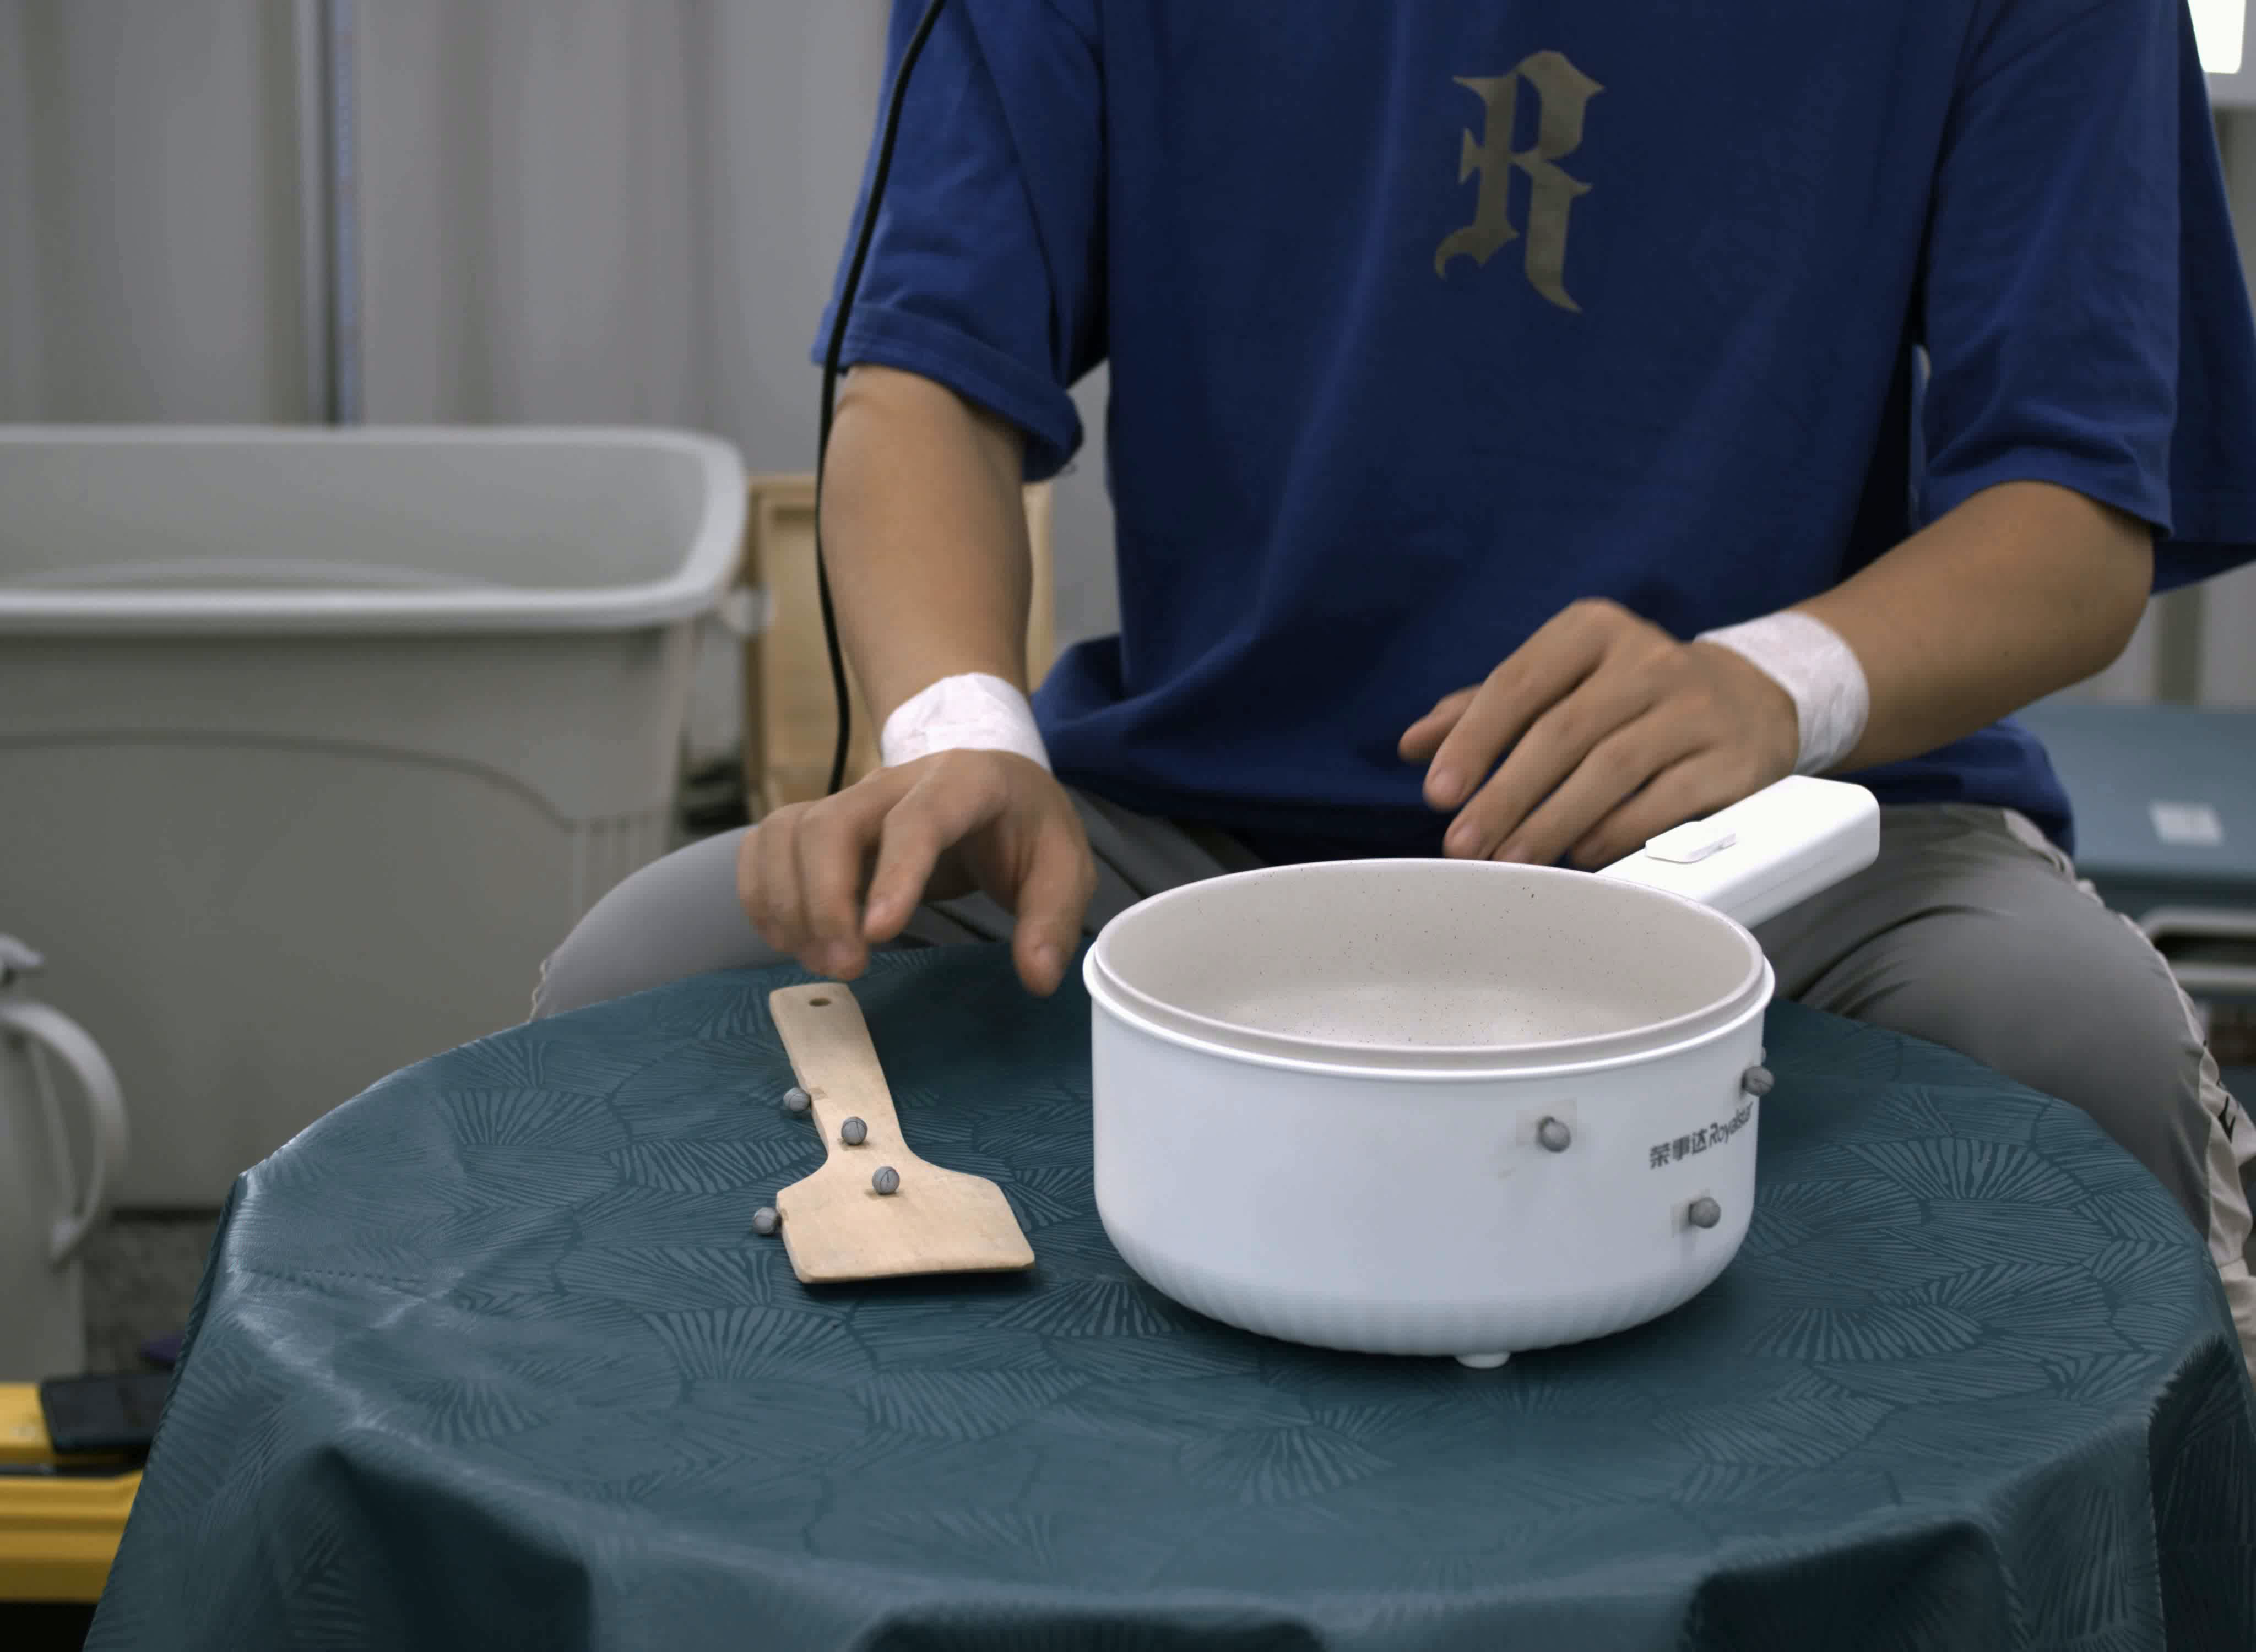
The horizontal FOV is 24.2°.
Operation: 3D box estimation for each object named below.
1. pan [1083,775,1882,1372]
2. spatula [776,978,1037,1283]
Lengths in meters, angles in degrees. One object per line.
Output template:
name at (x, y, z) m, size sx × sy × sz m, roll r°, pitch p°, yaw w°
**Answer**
pan at (0.130, 0.069, 1.602) m, size 0.199 × 0.103 × 0.356 m, roll 9°, pitch 17°, yaw 33°
spatula at (-0.085, 0.094, 1.669) m, size 0.072 × 0.011 × 0.290 m, roll -3°, pitch 16°, yaw -9°
